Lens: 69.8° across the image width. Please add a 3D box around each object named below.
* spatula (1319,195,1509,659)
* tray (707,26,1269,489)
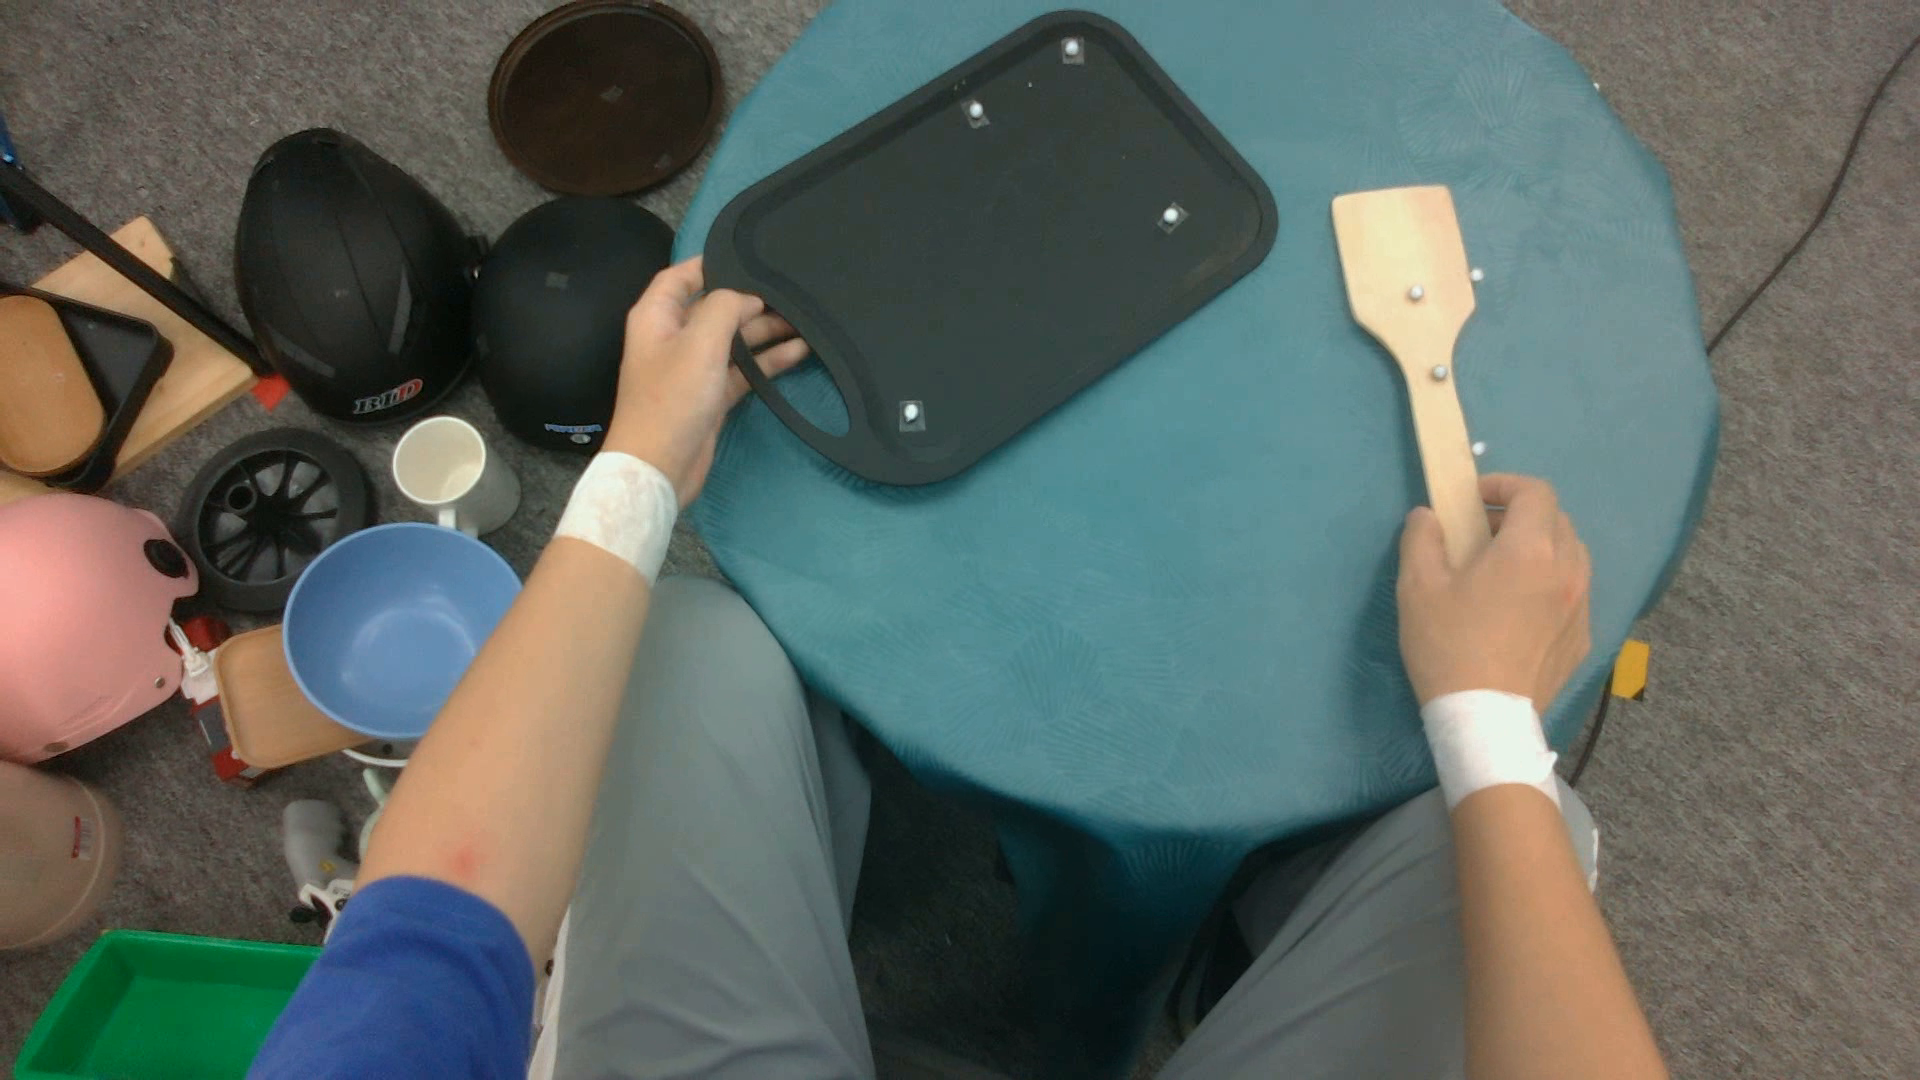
[{"bbox_3d":[0.263,-0.072,0.775,0.072,0.010,0.294,-5,66,0],"label":"spatula"},{"bbox_3d":[0.014,-0.171,0.812,0.326,0.010,0.211,-35,76,-14],"label":"tray"}]
